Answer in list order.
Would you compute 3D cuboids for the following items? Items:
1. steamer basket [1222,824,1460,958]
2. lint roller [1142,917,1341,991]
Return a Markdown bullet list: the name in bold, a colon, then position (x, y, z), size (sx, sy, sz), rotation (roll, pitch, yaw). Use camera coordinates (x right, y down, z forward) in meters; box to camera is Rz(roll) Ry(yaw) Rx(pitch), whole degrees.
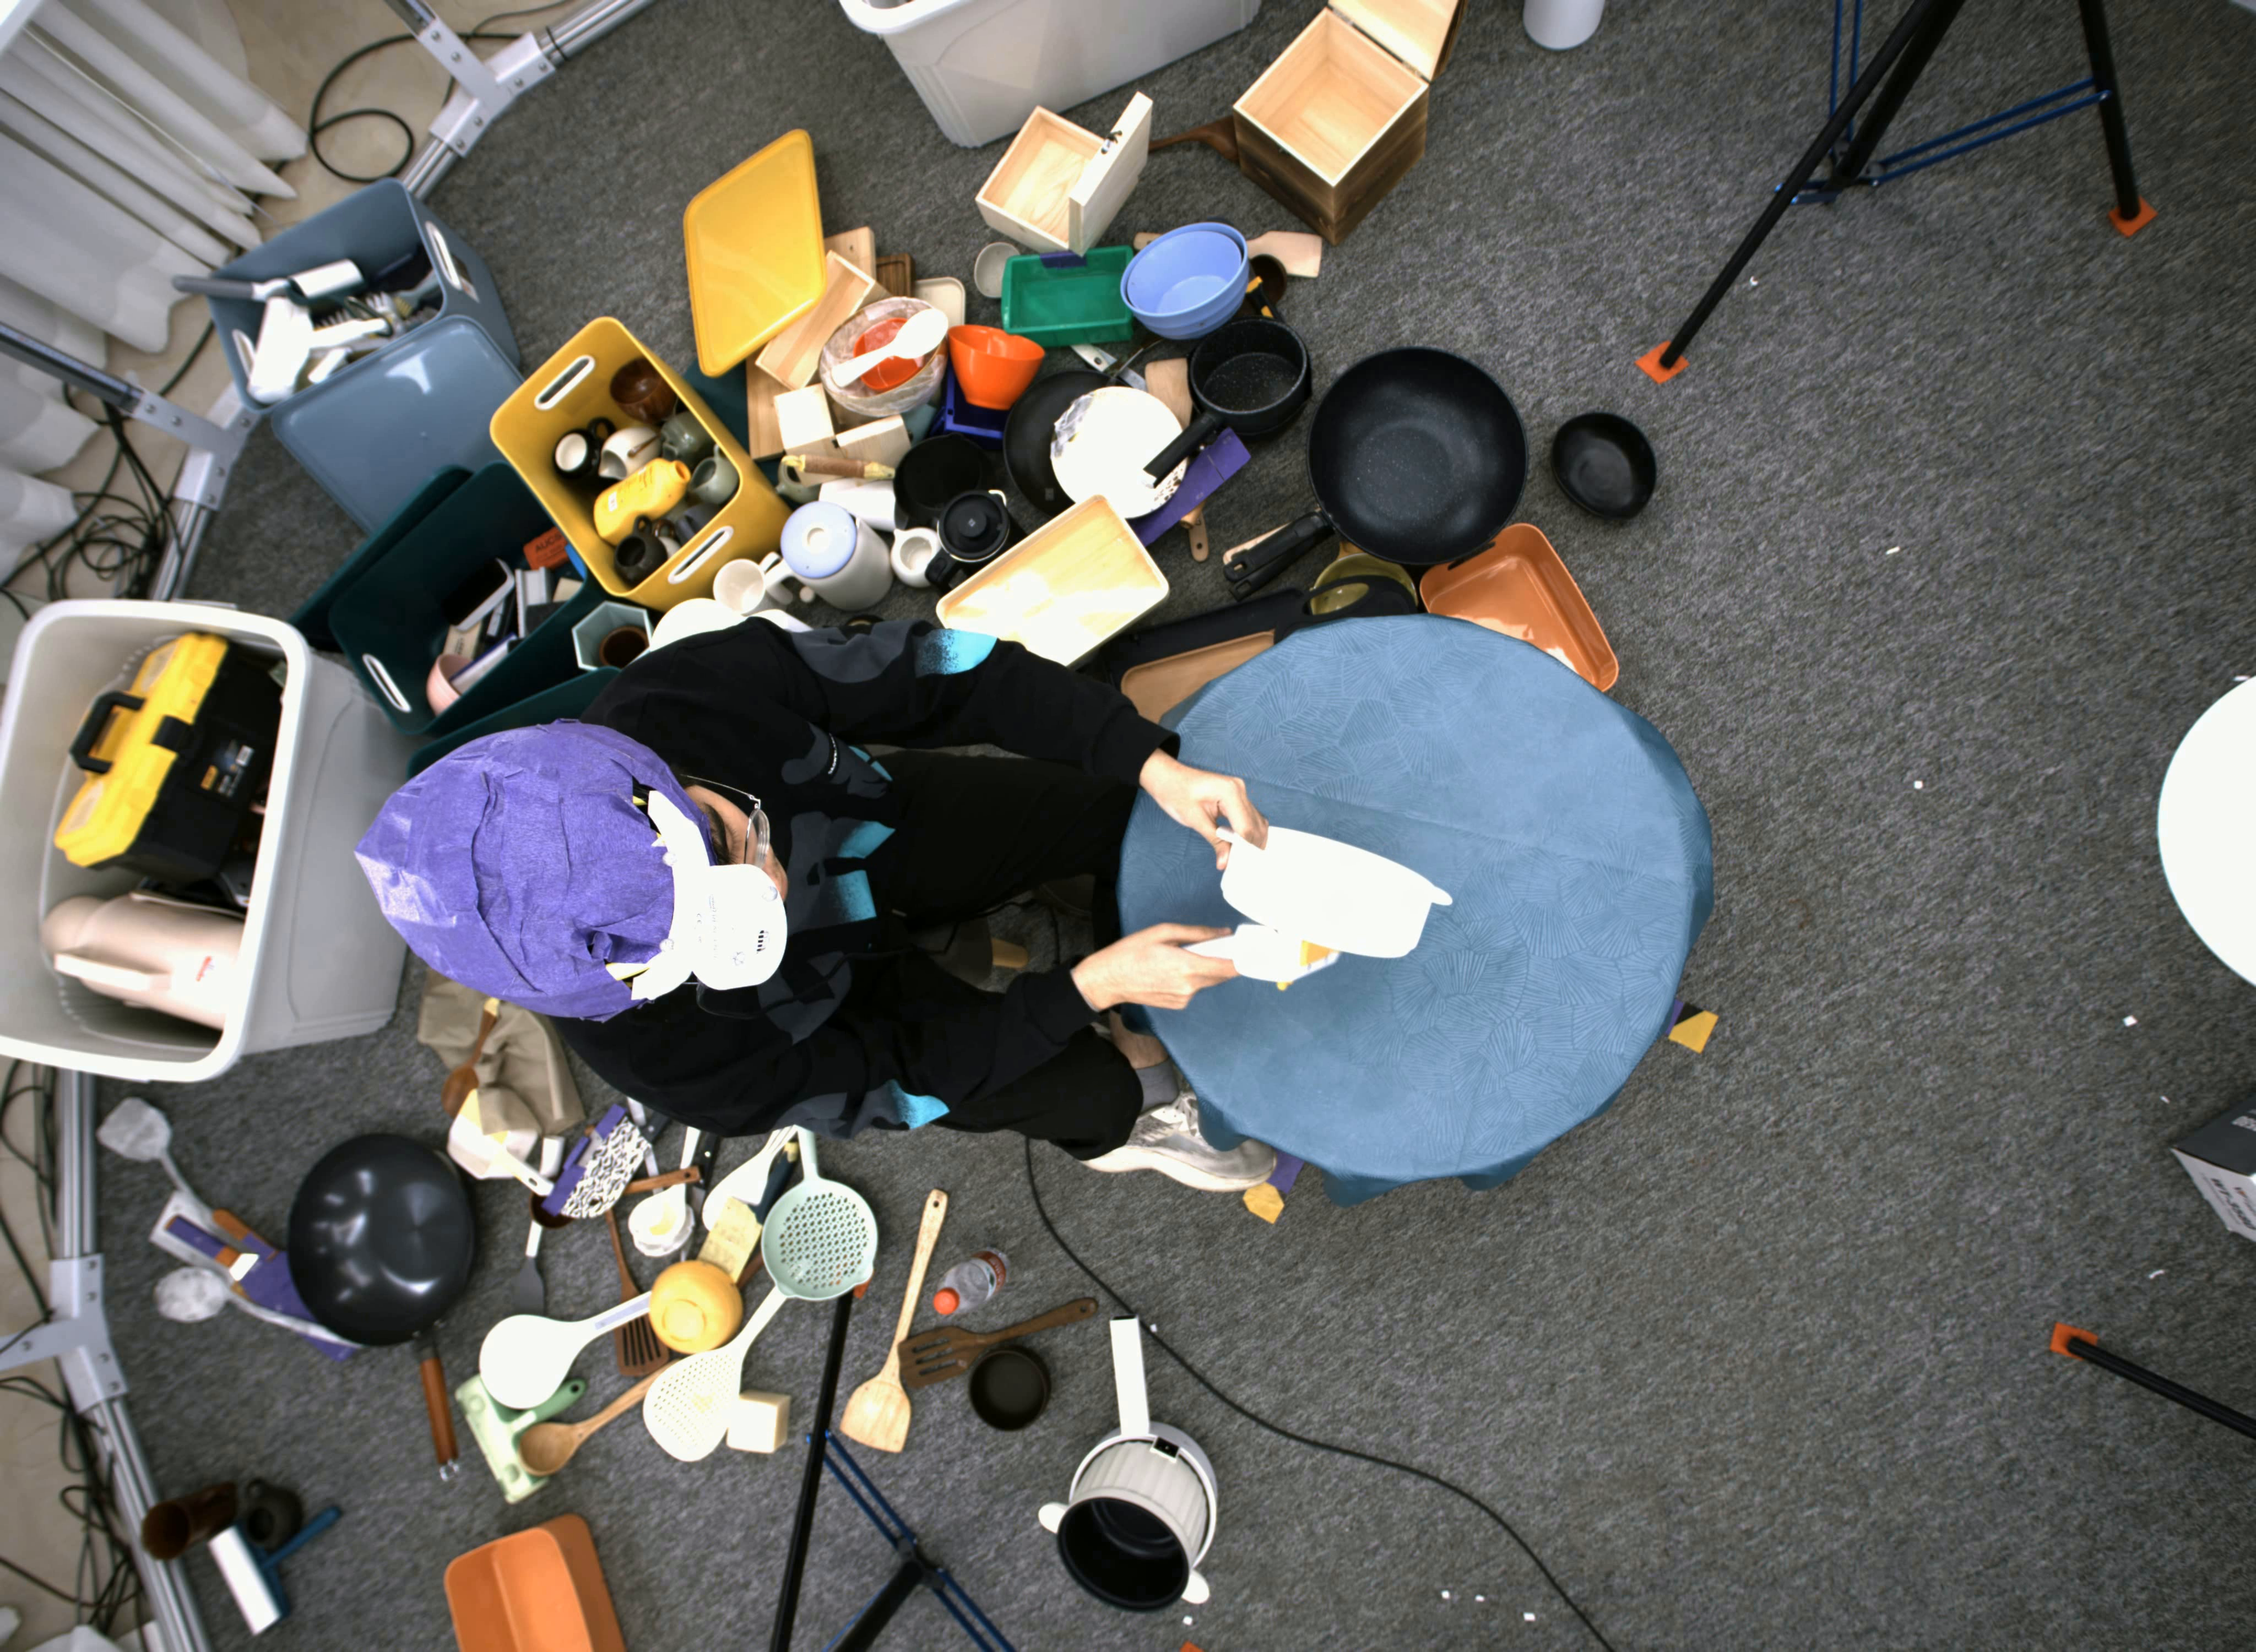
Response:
- **steamer basket**: position (0.192, 0.061, 1.301), size (0.231, 0.199, 0.070), rotation (16, 103, 5)
- **lint roller**: position (0.100, 0.121, 1.364), size (0.194, 0.190, 0.074), rotation (-2, 96, 29)
